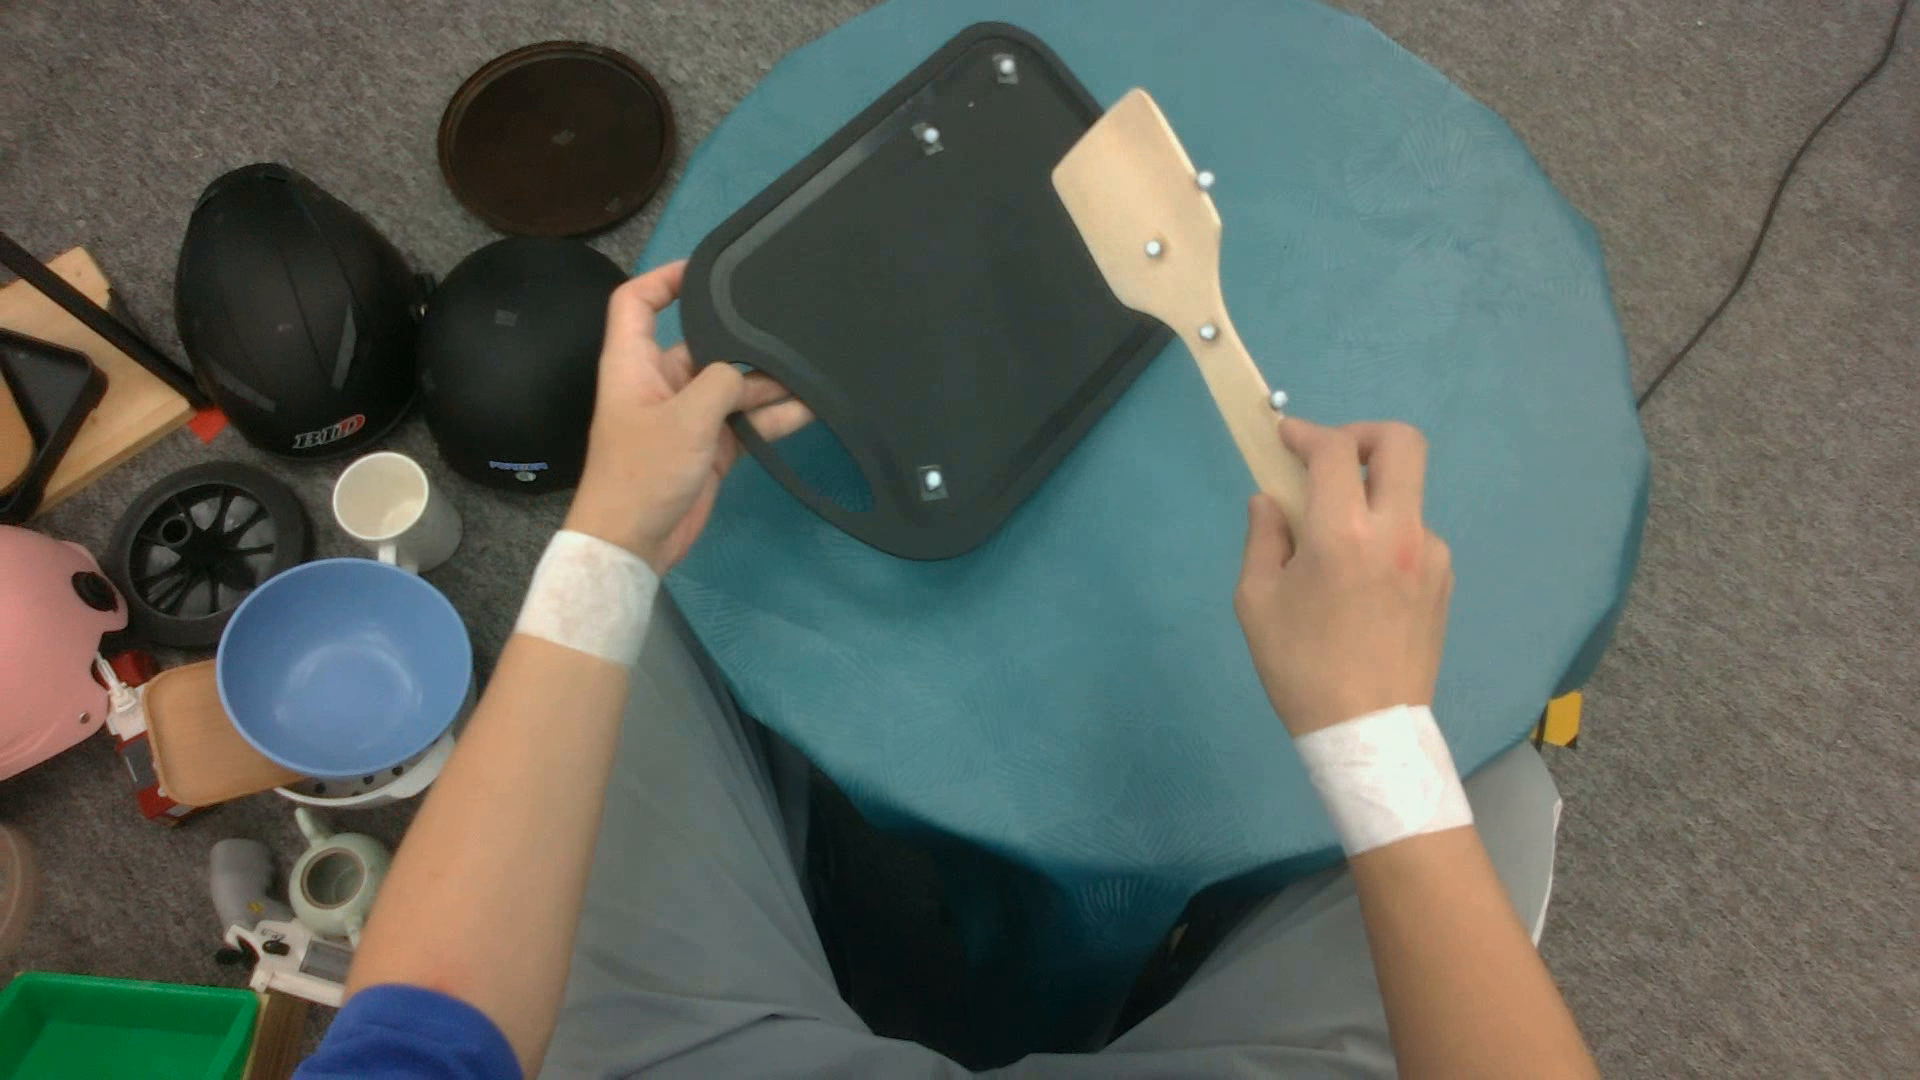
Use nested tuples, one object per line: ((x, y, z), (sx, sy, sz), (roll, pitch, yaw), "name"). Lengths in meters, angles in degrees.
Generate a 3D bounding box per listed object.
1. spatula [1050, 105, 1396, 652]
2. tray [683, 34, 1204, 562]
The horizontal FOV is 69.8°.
((0.130, -0.078, 0.668), (0.011, 0.072, 0.293), (-11, 68, -43), "spatula")
((0.003, -0.140, 0.766), (0.211, 0.010, 0.327), (47, 62, -7), "tray")
